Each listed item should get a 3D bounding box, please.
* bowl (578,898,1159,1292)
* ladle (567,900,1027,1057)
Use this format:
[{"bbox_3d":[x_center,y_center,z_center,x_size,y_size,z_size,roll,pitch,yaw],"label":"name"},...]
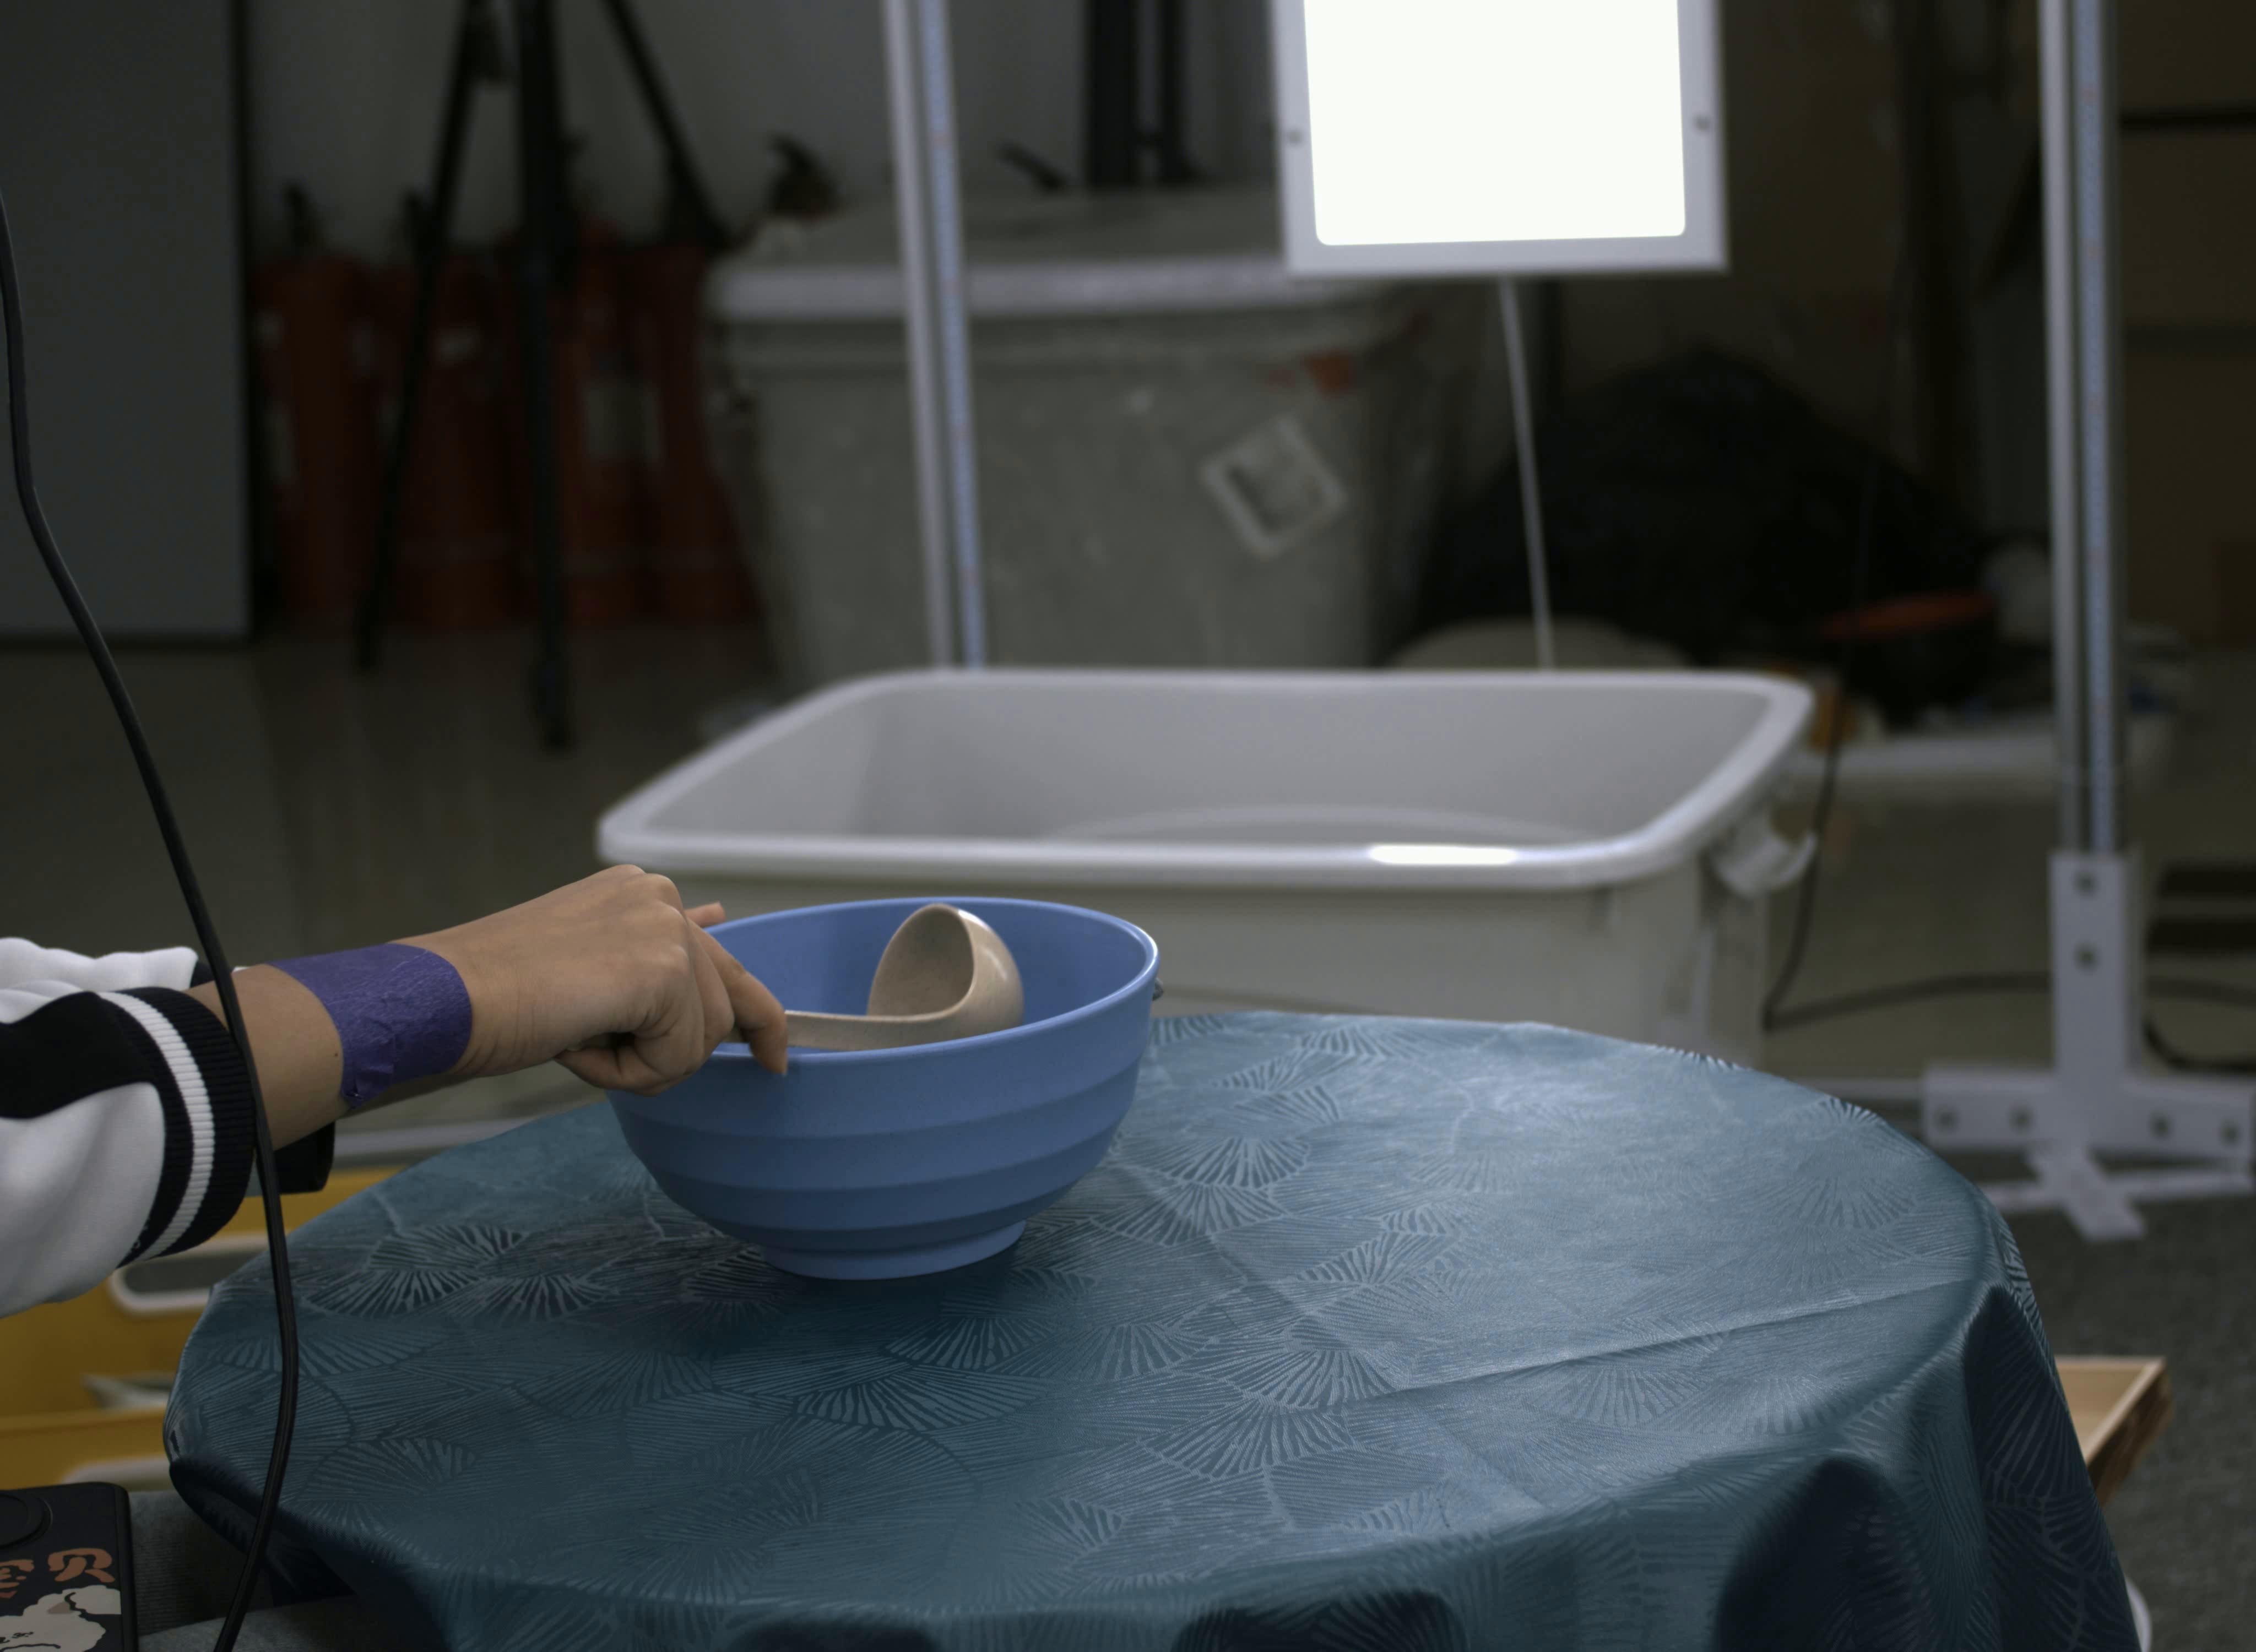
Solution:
[{"bbox_3d":[-0.084,0.097,1.863,0.196,0.096,0.196,-5,15,0],"label":"bowl"},{"bbox_3d":[-0.122,0.049,1.785,0.074,0.072,0.248,34,13,33],"label":"ladle"}]
